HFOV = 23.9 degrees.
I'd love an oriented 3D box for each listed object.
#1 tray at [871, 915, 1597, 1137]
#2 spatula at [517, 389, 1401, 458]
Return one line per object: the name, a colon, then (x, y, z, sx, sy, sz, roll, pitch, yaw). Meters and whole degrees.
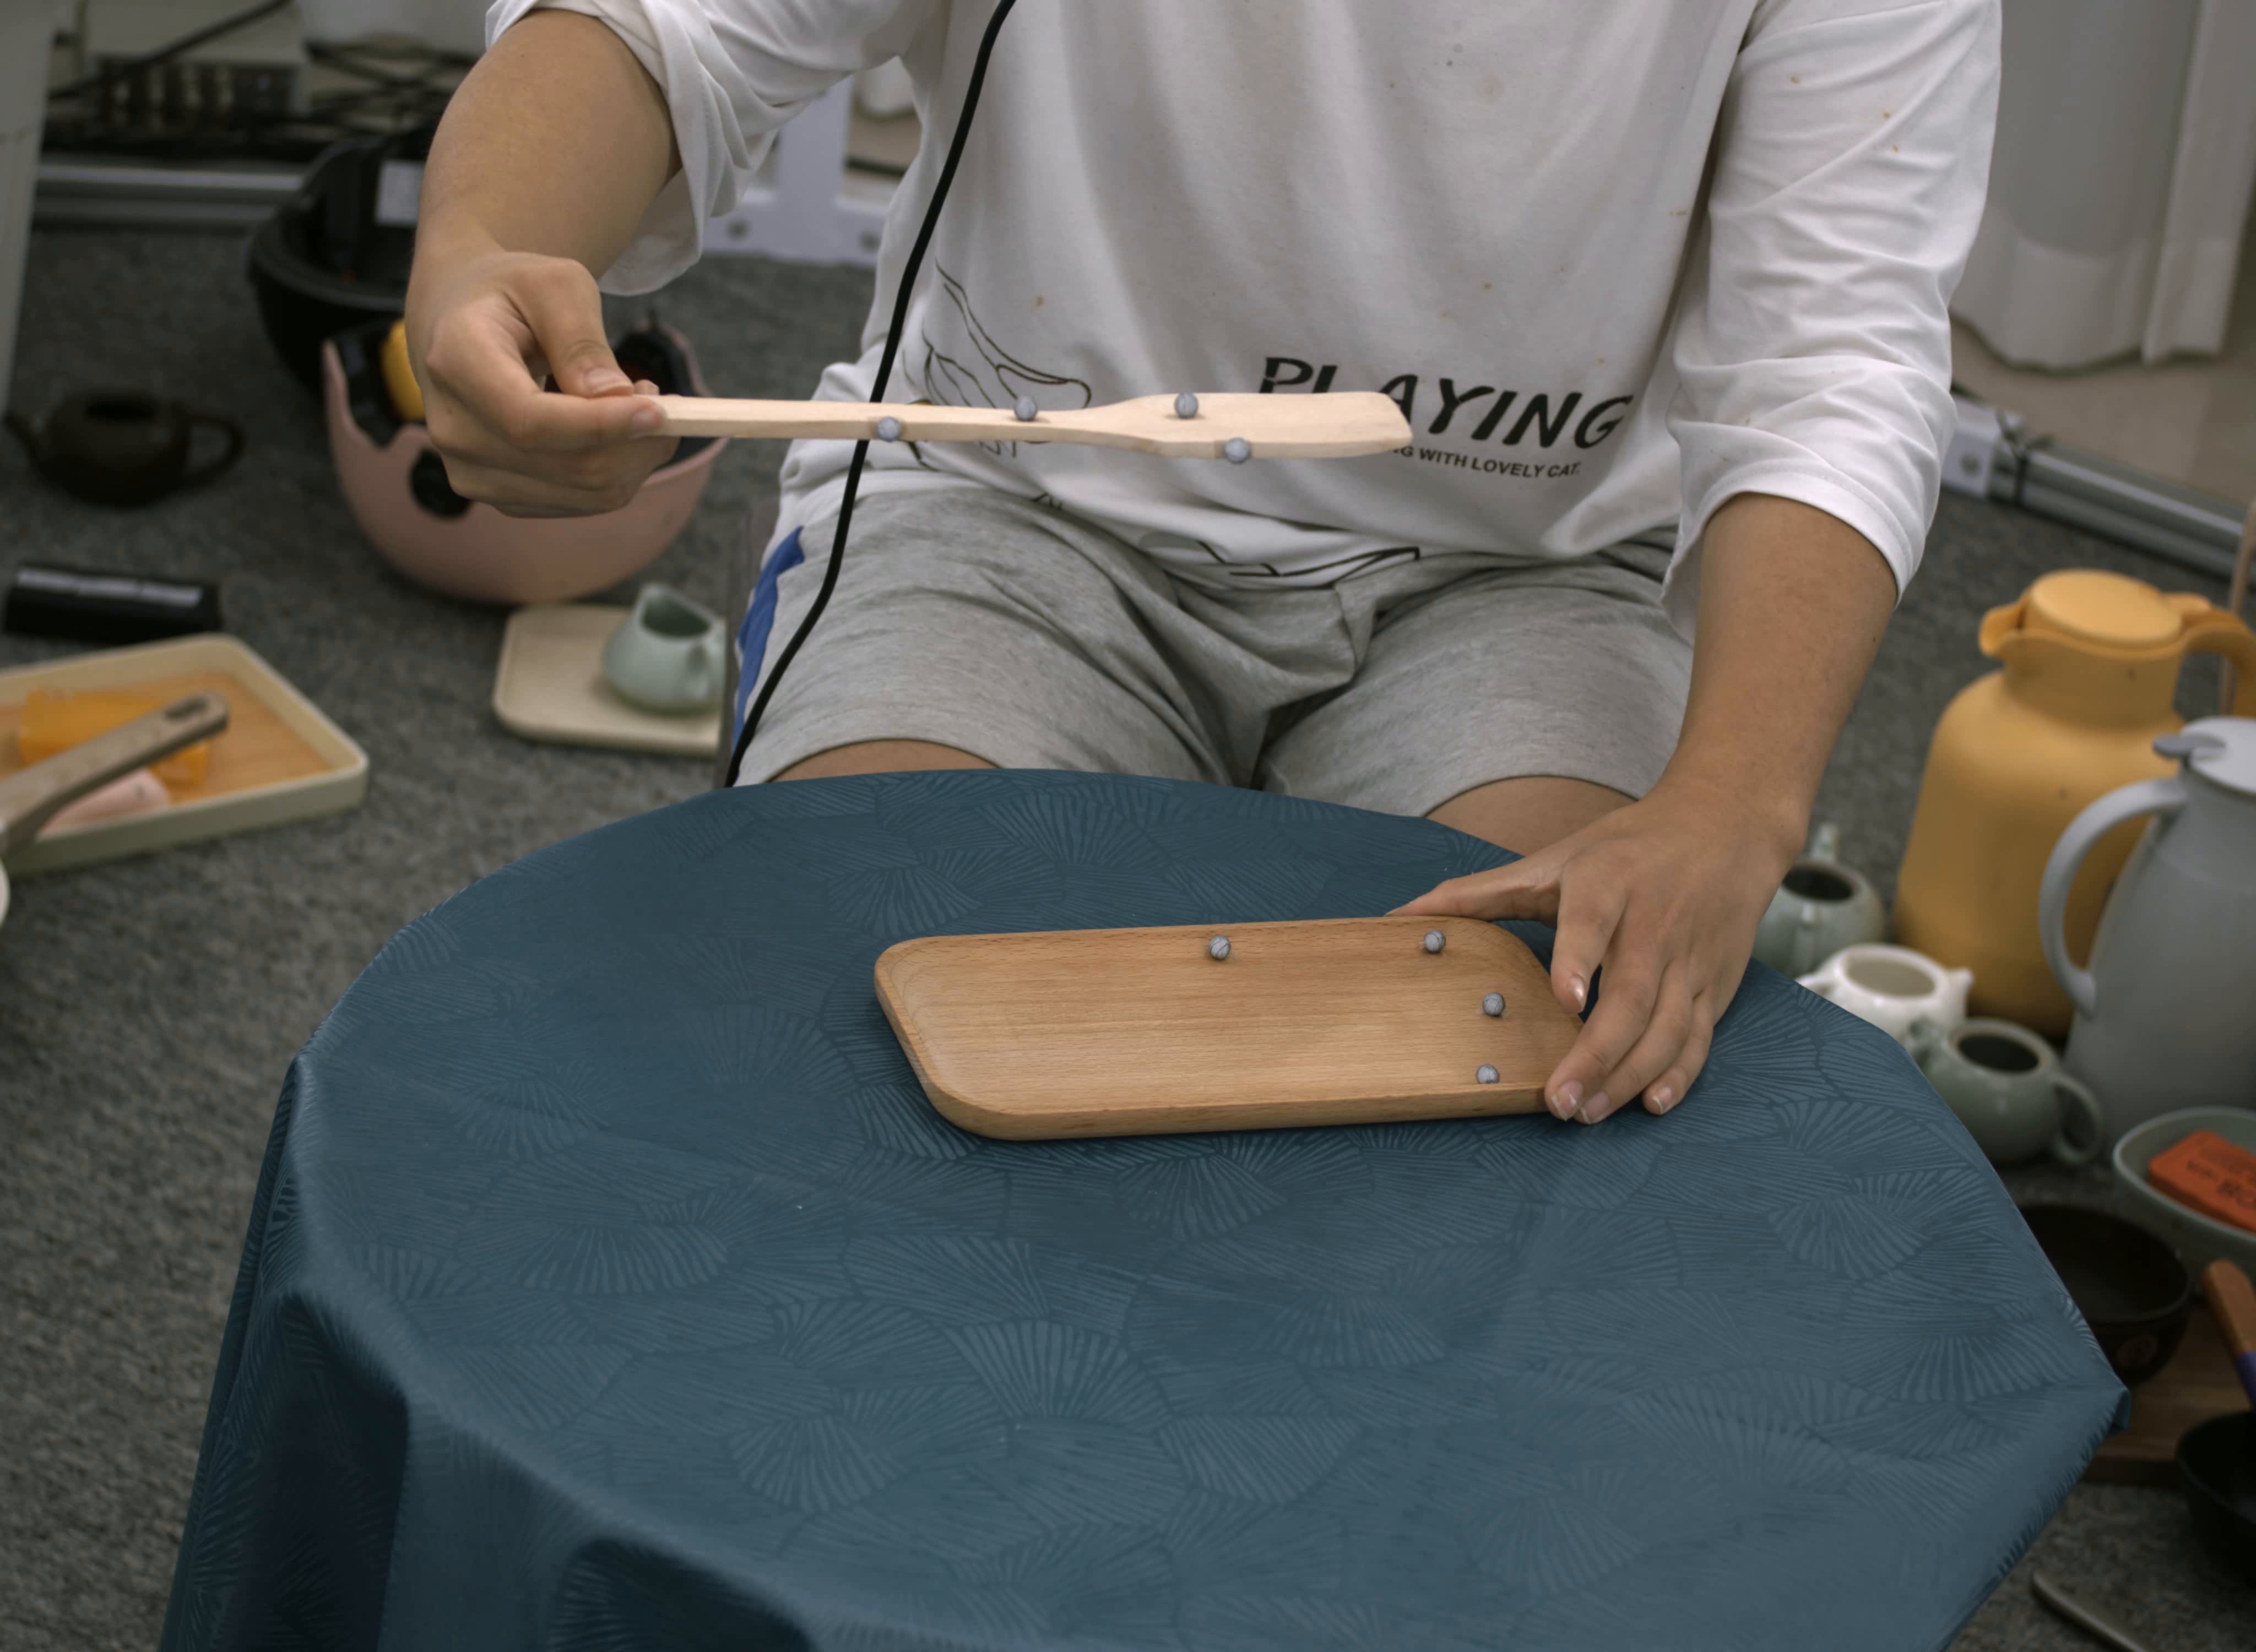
tray: (0.037, 0.071, 1.902, 0.249, 0.023, 0.131, -2, 25, -16)
spatula: (-0.056, -0.135, 1.768, 0.292, 0.010, 0.072, 0, 18, -6)
